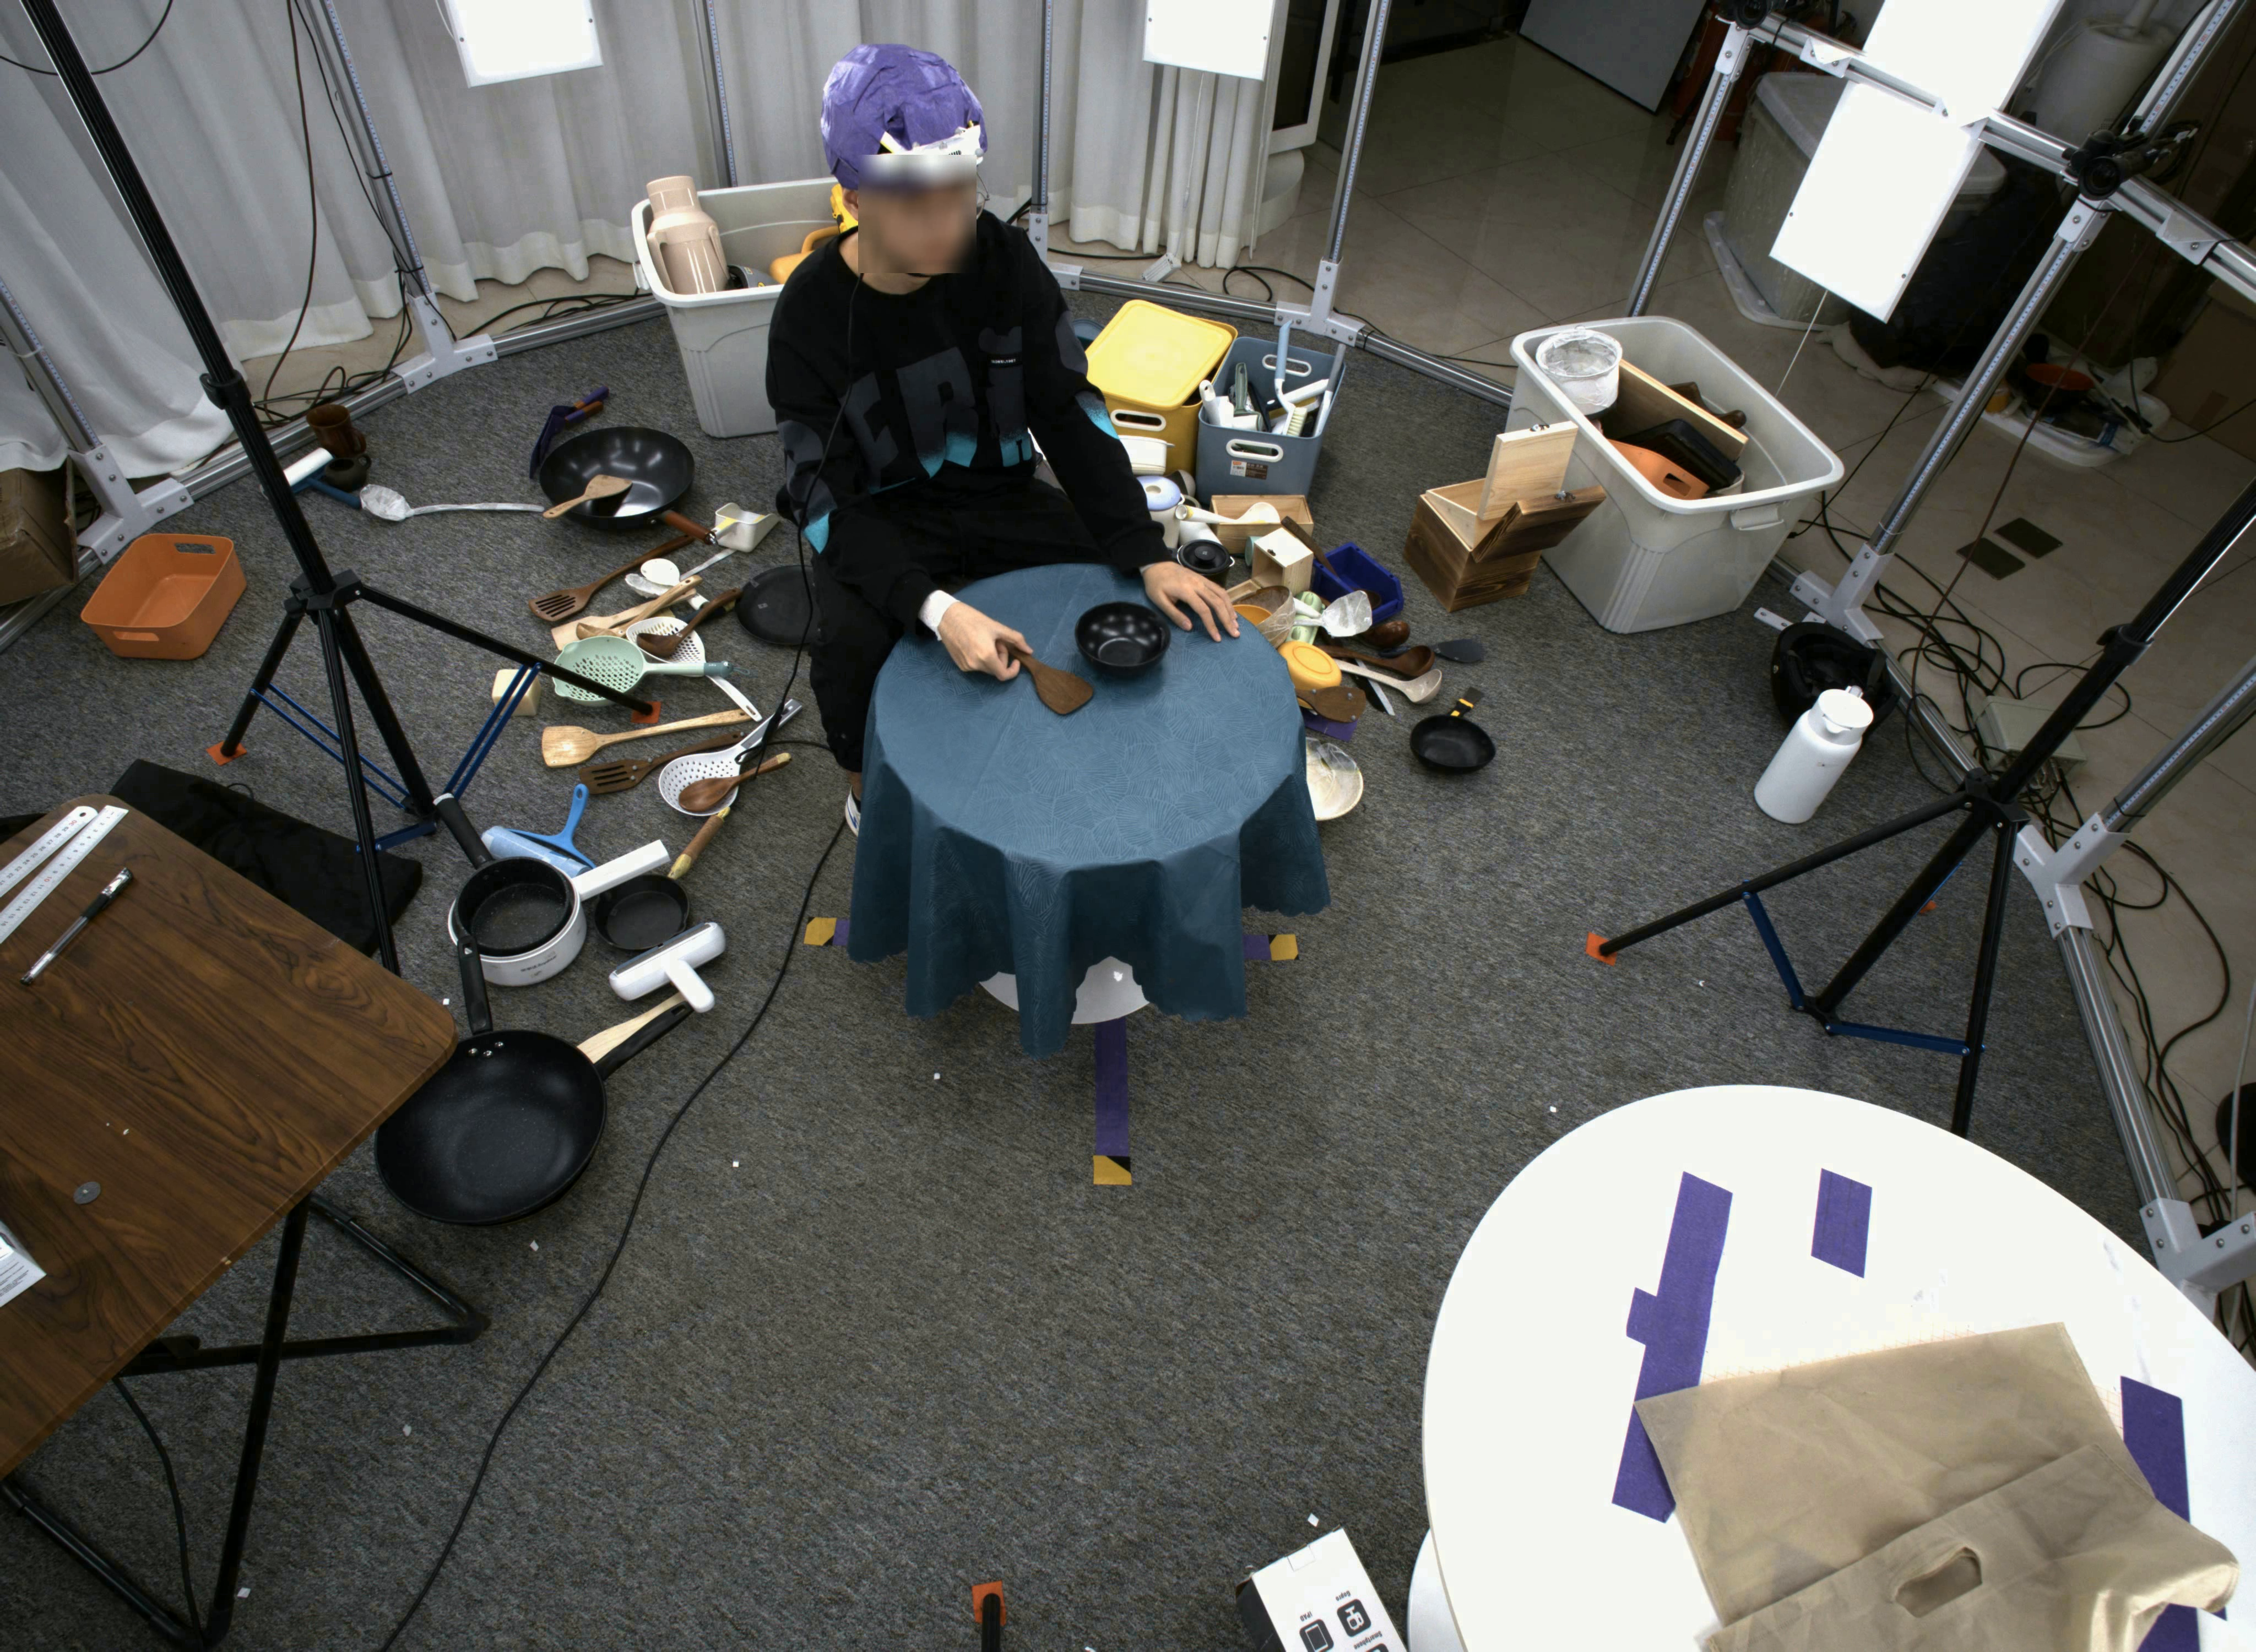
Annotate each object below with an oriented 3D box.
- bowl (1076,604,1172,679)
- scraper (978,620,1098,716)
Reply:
[{"bbox_3d":[-0.006,-0.262,1.882,0.140,0.048,0.143,0,50,0],"label":"bowl"},{"bbox_3d":[-0.138,-0.234,1.863,0.214,0.010,0.076,41,56,20],"label":"scraper"}]
